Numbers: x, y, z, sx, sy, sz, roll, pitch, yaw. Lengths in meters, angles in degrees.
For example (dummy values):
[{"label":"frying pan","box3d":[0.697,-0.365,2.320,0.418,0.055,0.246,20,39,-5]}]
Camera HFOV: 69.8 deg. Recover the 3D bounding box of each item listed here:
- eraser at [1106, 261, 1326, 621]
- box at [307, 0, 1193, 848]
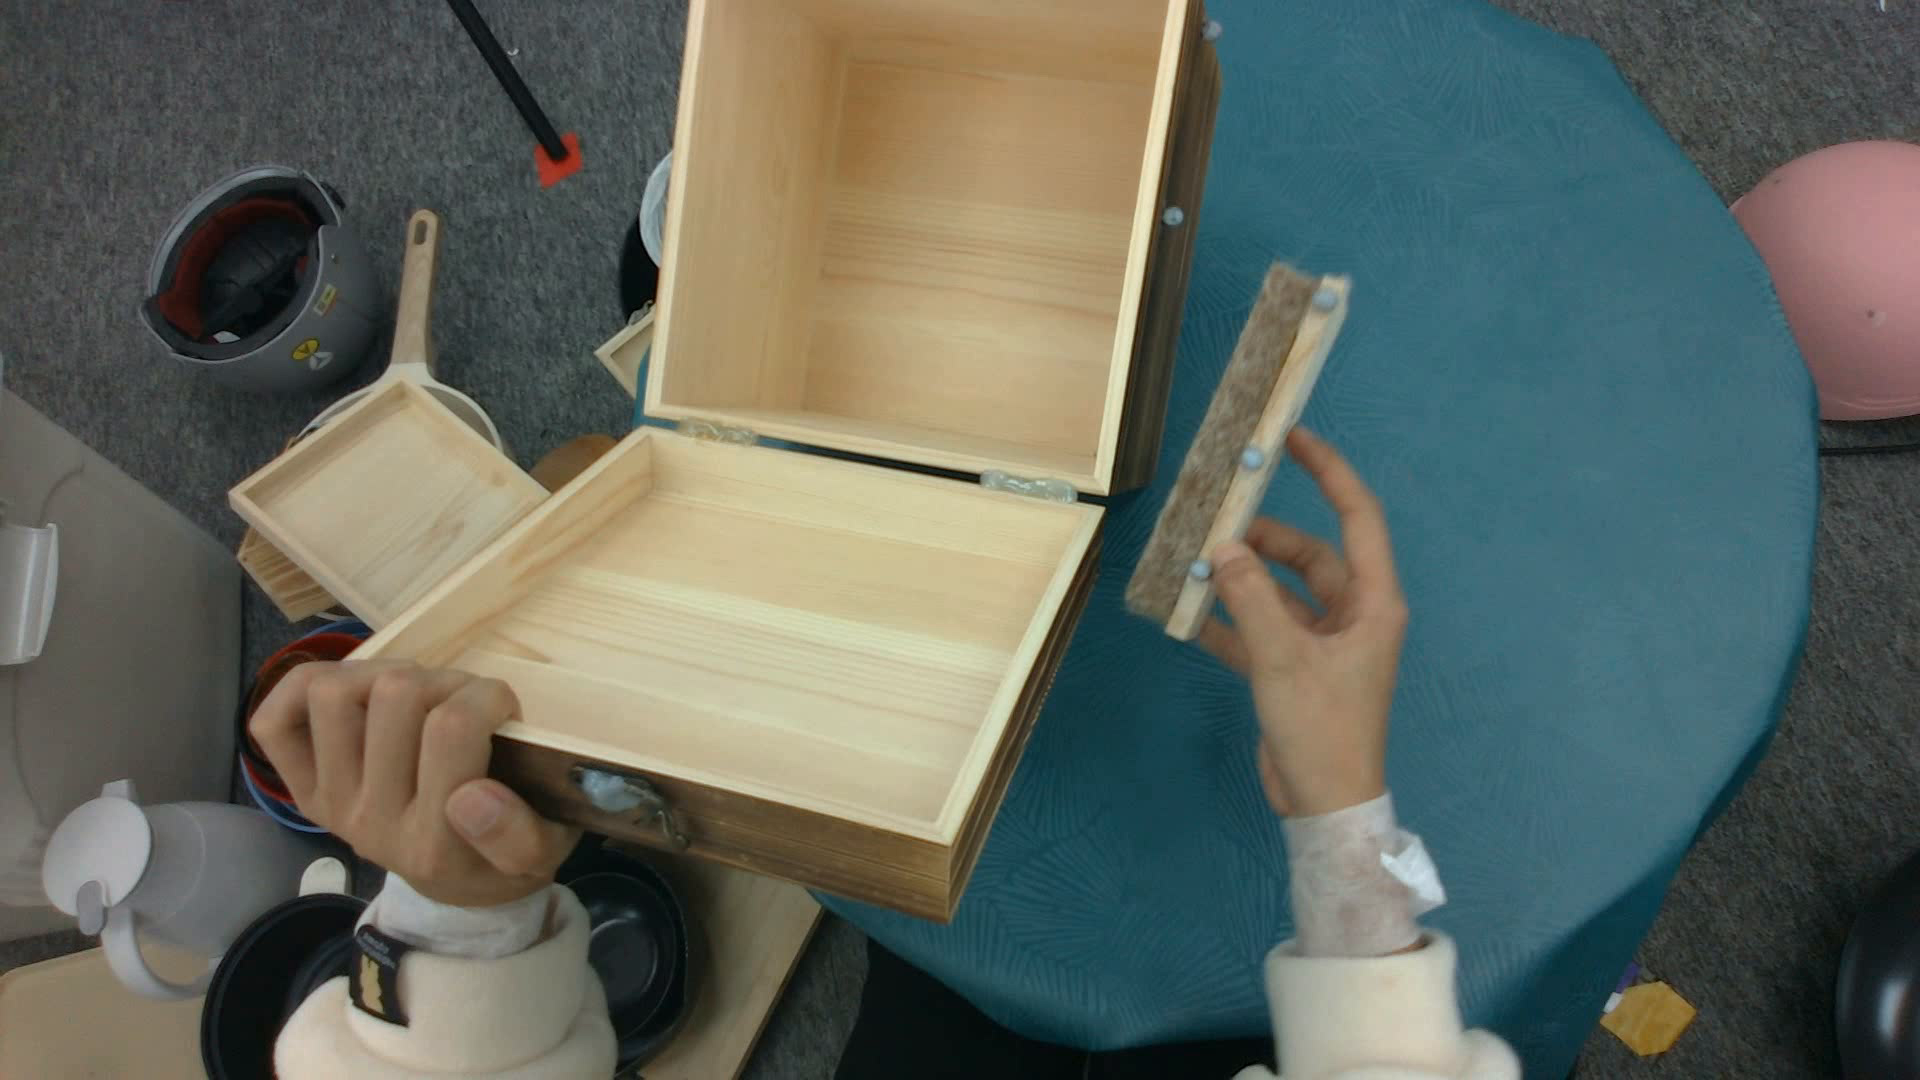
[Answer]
[{"label":"eraser","box3d":[0.099,-0.036,0.537,0.029,0.057,0.139,26,91,13]},{"label":"box","box3d":[-0.037,-0.088,0.539,0.208,0.376,0.322,10,96,12]}]
